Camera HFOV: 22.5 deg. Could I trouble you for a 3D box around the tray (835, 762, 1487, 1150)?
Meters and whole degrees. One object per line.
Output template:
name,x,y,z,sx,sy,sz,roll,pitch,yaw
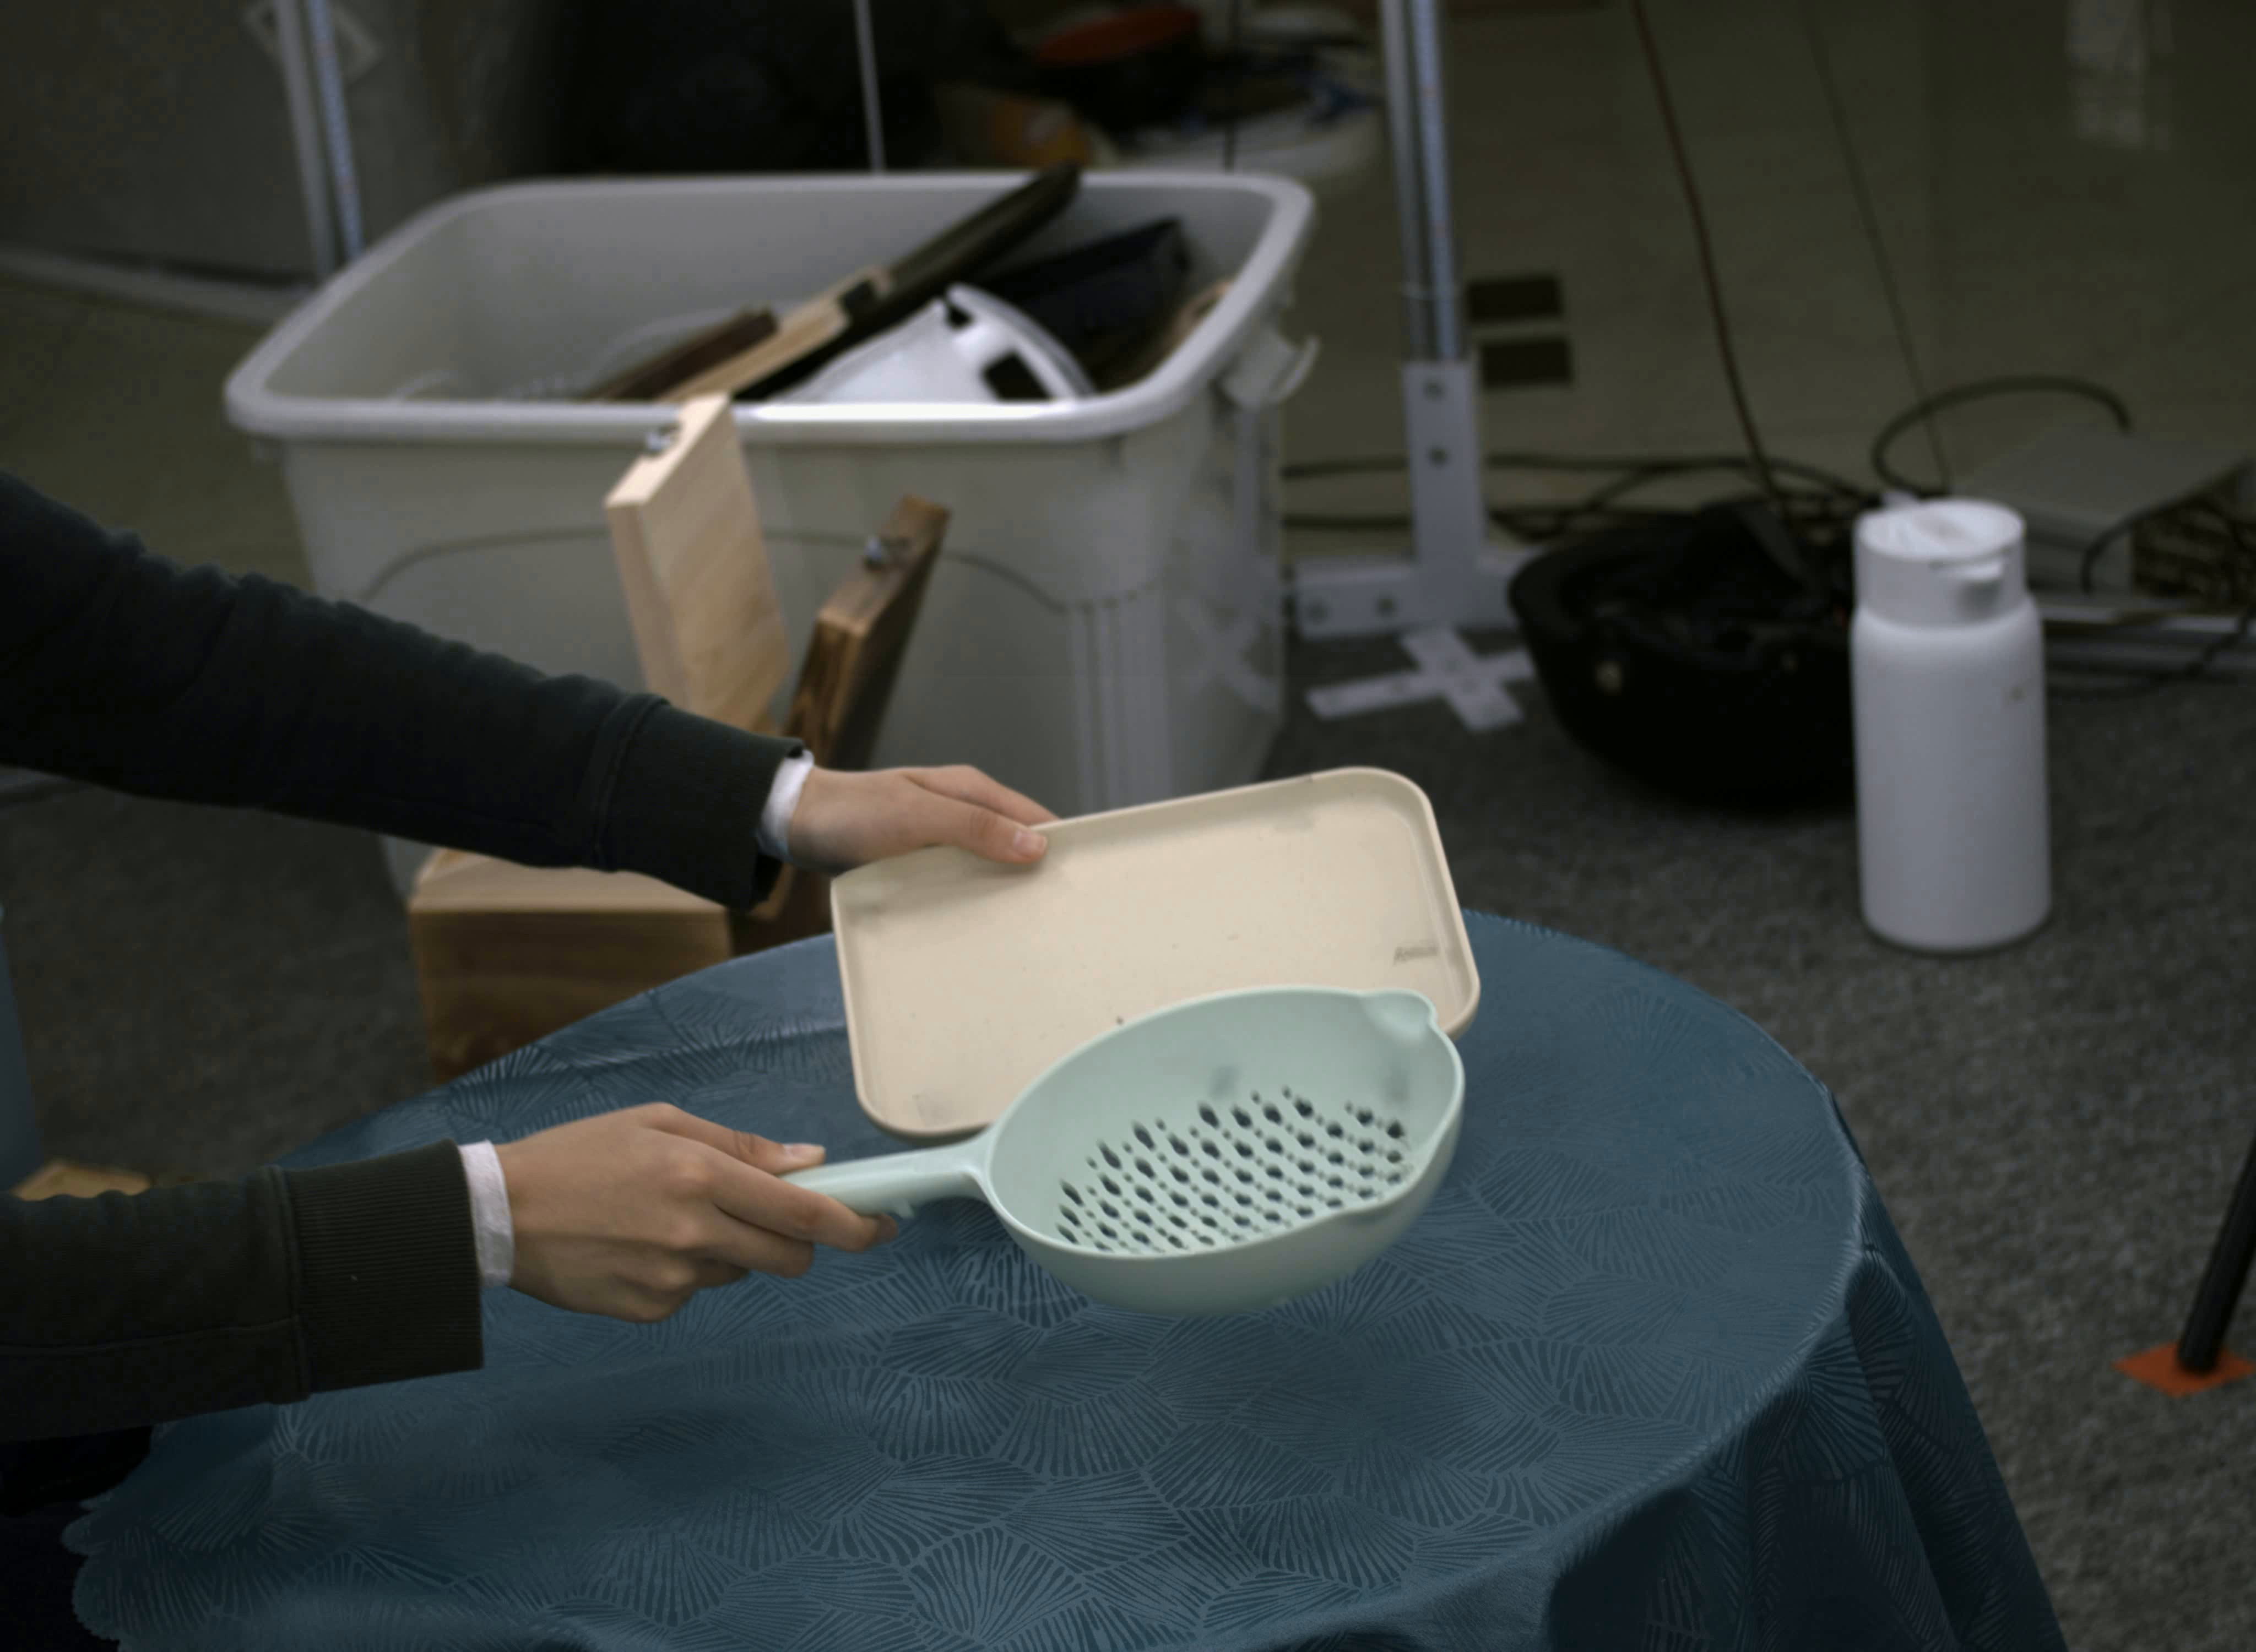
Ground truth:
tray,0.011,0.050,2.175,0.239,0.018,0.168,-11,40,-1

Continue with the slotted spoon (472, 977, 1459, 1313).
slotted spoon,-0.061,0.123,1.991,0.358,0.076,0.166,-1,30,8
